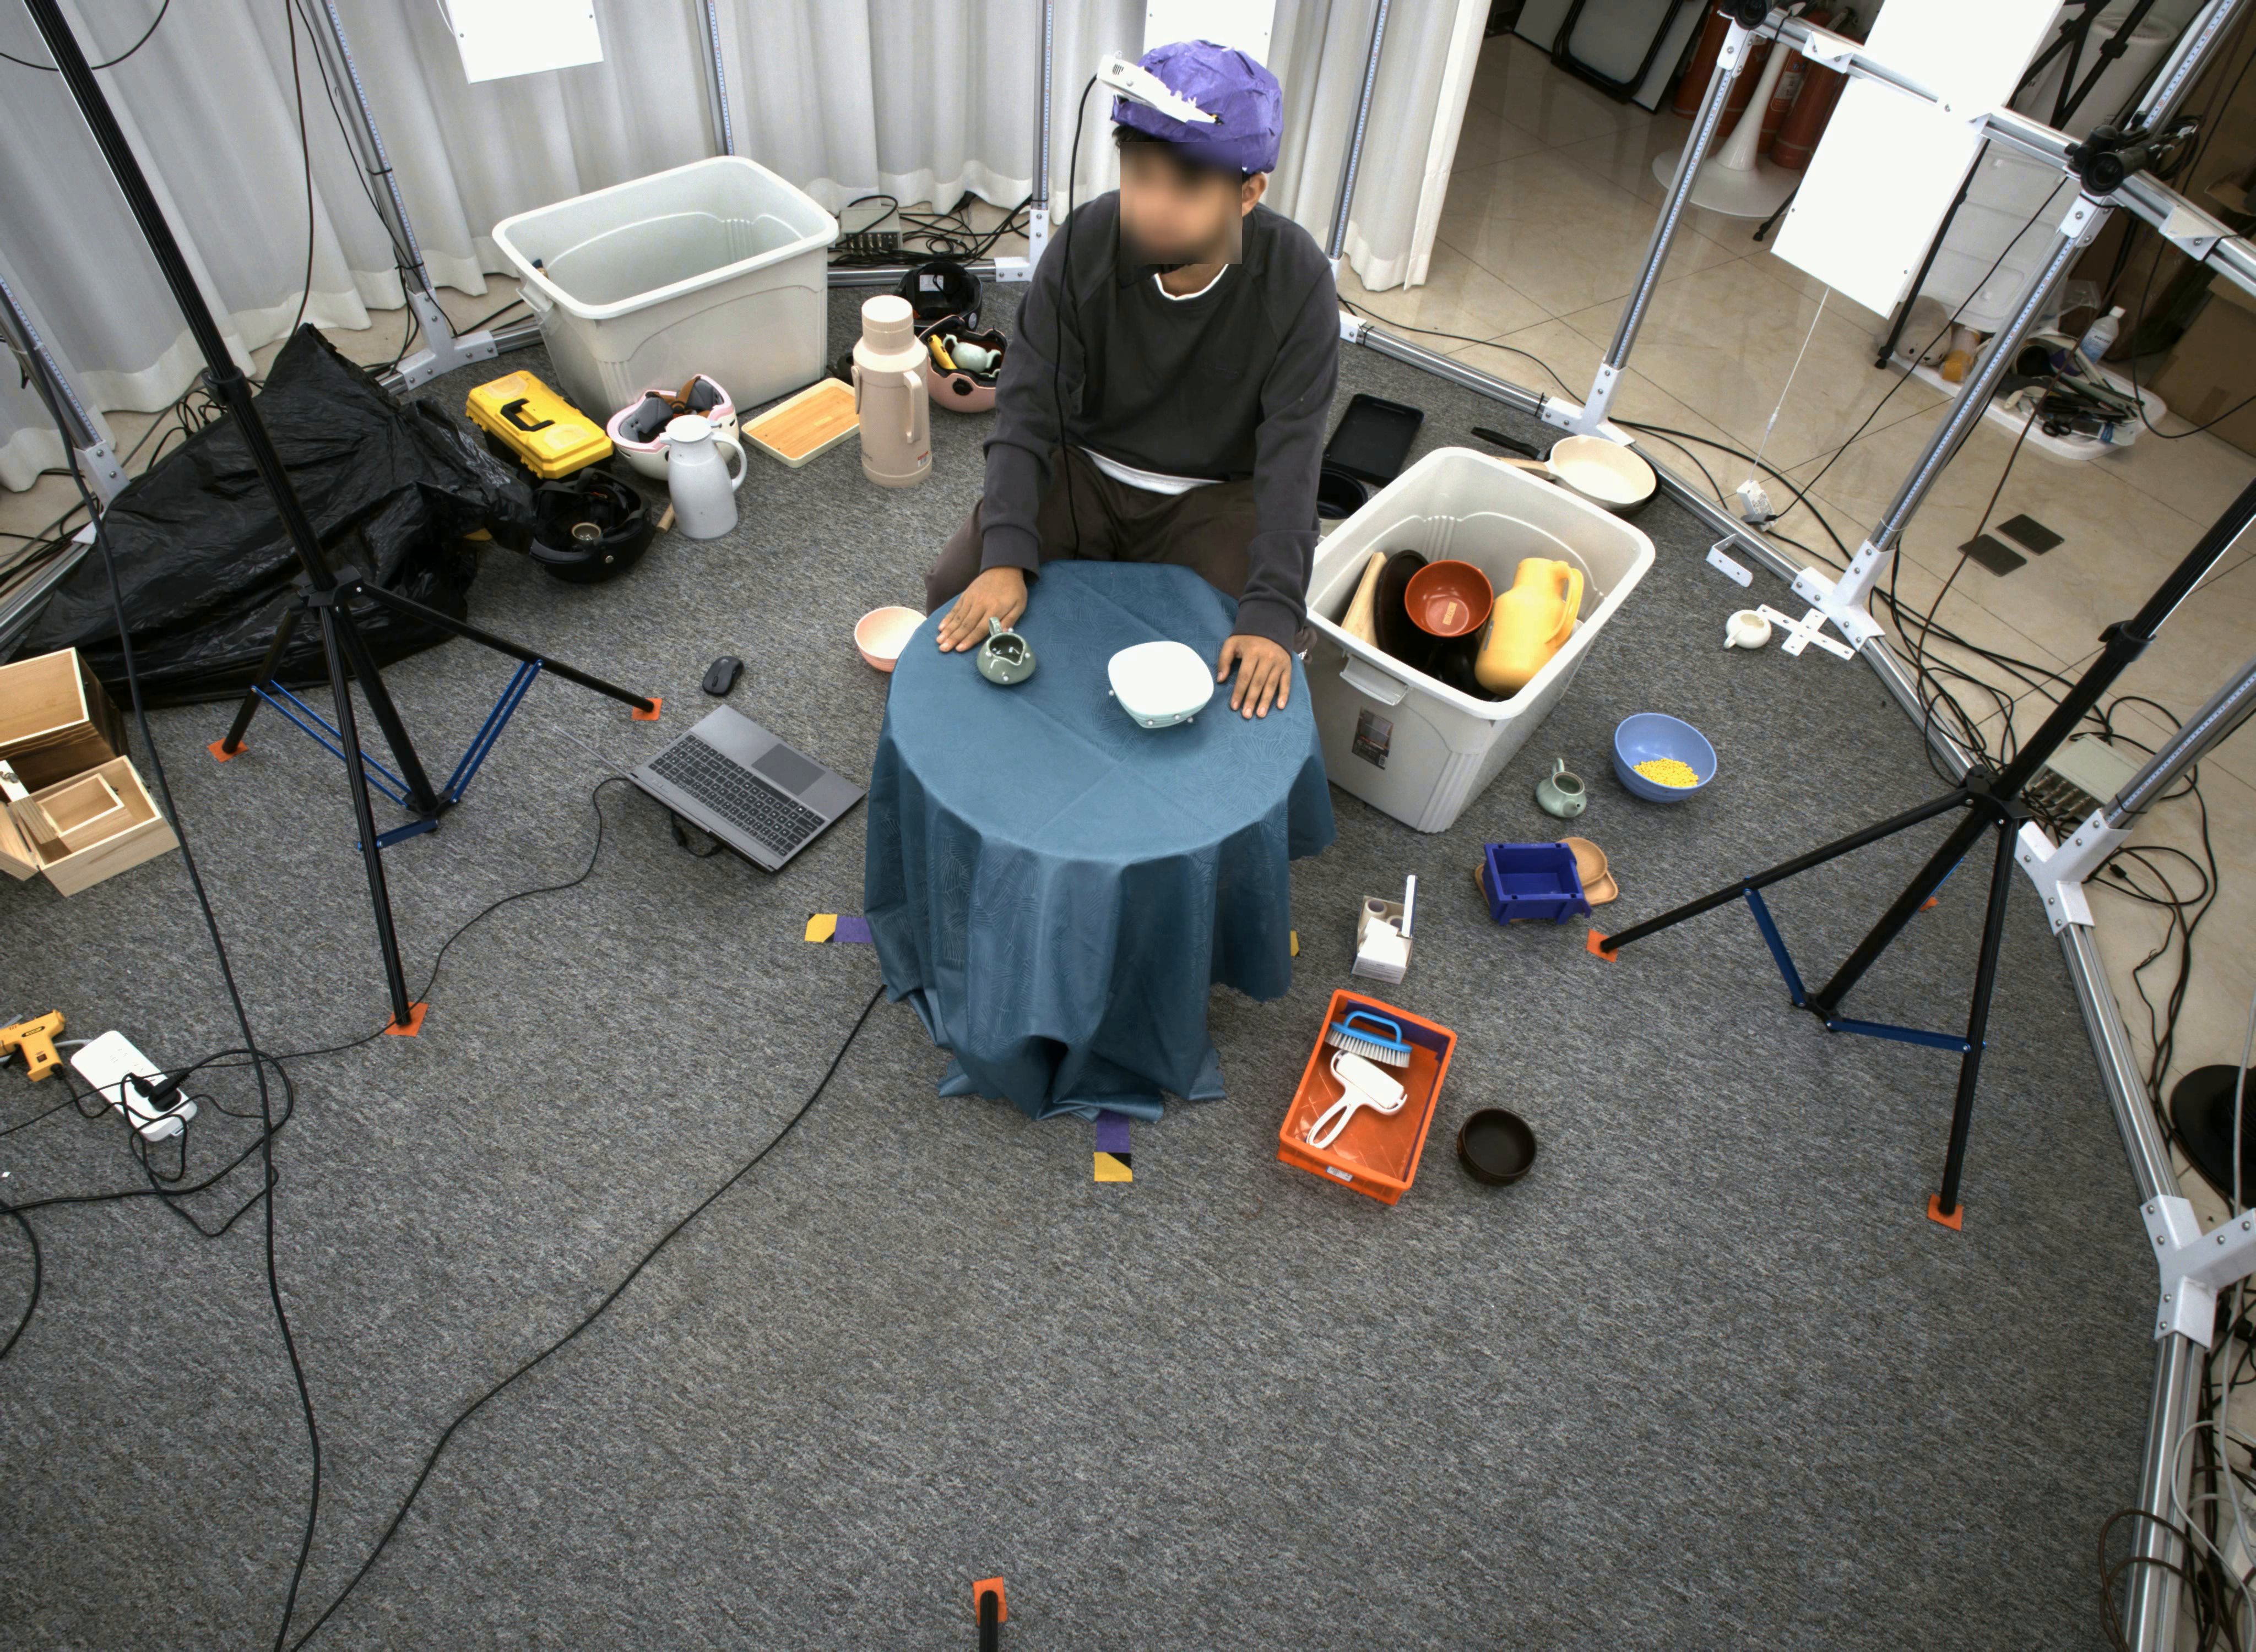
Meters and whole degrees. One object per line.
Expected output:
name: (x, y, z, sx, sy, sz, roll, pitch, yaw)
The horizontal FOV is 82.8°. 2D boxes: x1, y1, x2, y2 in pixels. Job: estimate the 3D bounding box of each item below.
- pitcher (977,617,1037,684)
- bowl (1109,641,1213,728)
pitcher: (-0.174, -0.247, 1.831, 0.084, 0.055, 0.115, -17, 52, -19)
bowl: (0.044, -0.190, 1.798, 0.151, 0.057, 0.155, 2, 50, -3)
